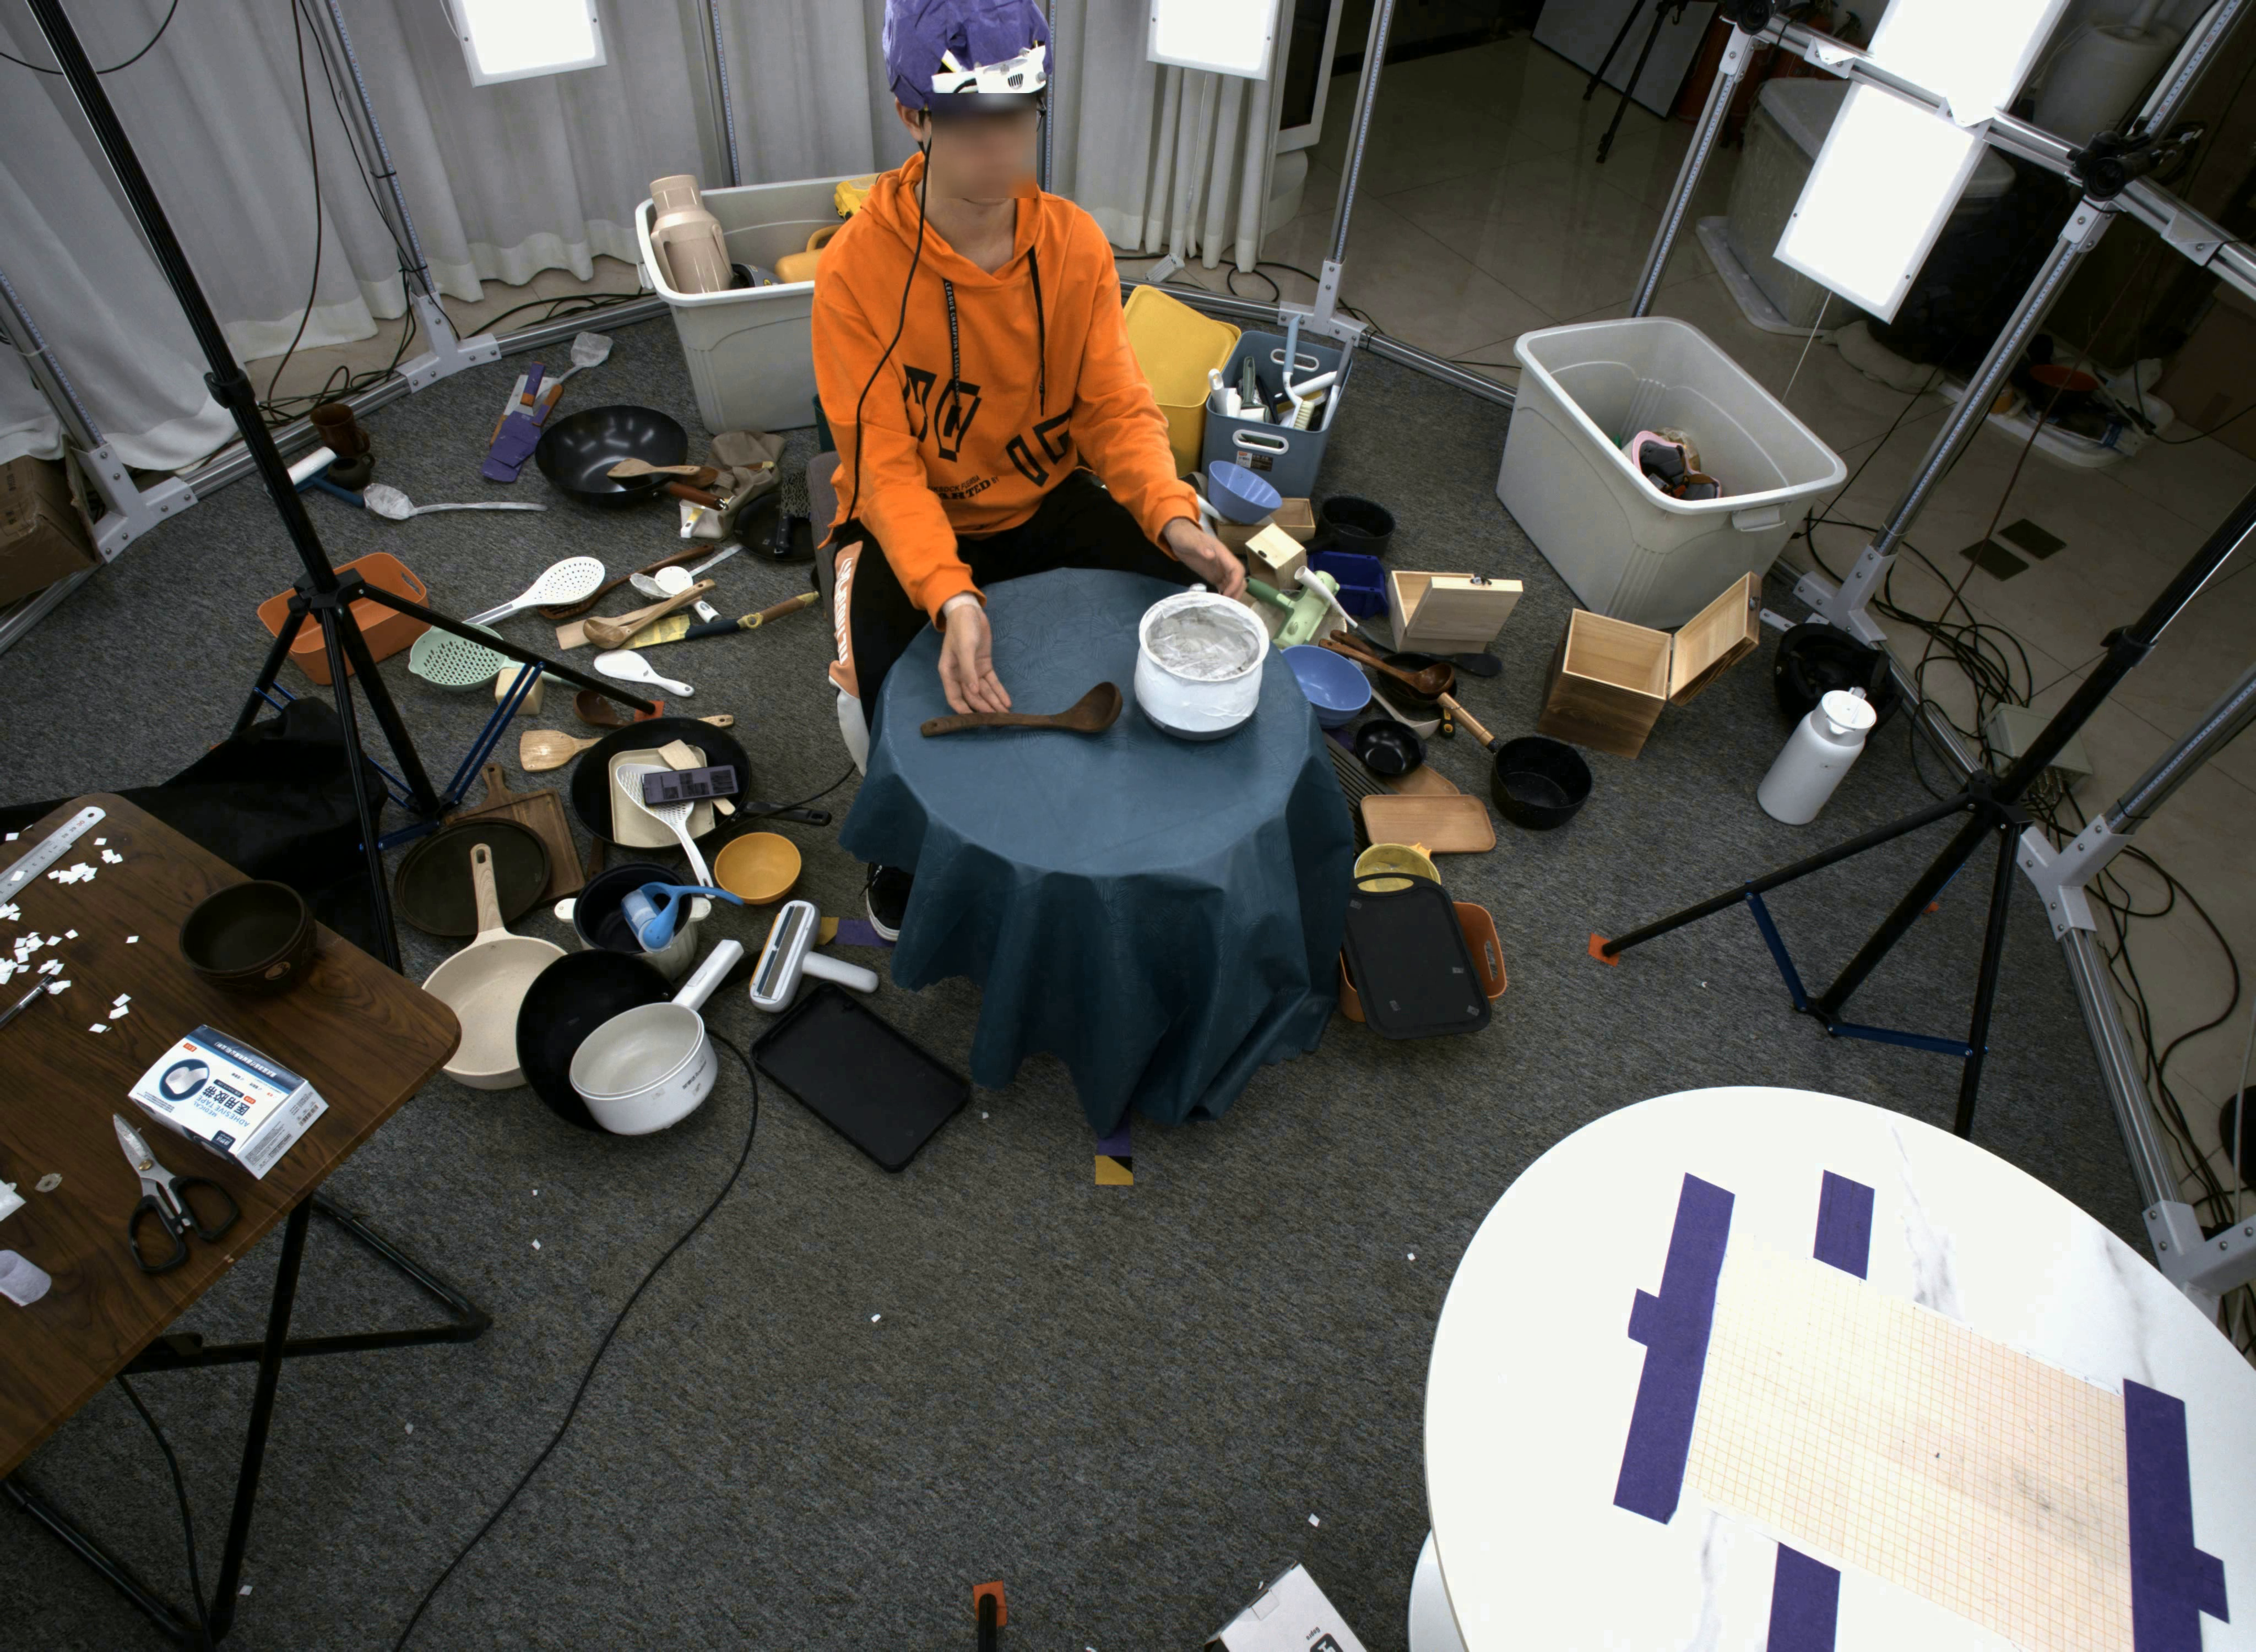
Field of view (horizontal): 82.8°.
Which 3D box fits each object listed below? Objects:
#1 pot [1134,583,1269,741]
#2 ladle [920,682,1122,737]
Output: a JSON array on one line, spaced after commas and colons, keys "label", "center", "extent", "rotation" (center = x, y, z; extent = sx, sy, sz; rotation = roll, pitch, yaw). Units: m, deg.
[{"label": "pot", "center": [0.097, -0.239, 1.794], "extent": [0.178, 0.133, 0.239], "rotation": [0, 49, -5]}, {"label": "ladle", "center": [-0.145, -0.158, 1.751], "extent": [0.274, 0.069, 0.078], "rotation": [-2, 46, -7]}]
